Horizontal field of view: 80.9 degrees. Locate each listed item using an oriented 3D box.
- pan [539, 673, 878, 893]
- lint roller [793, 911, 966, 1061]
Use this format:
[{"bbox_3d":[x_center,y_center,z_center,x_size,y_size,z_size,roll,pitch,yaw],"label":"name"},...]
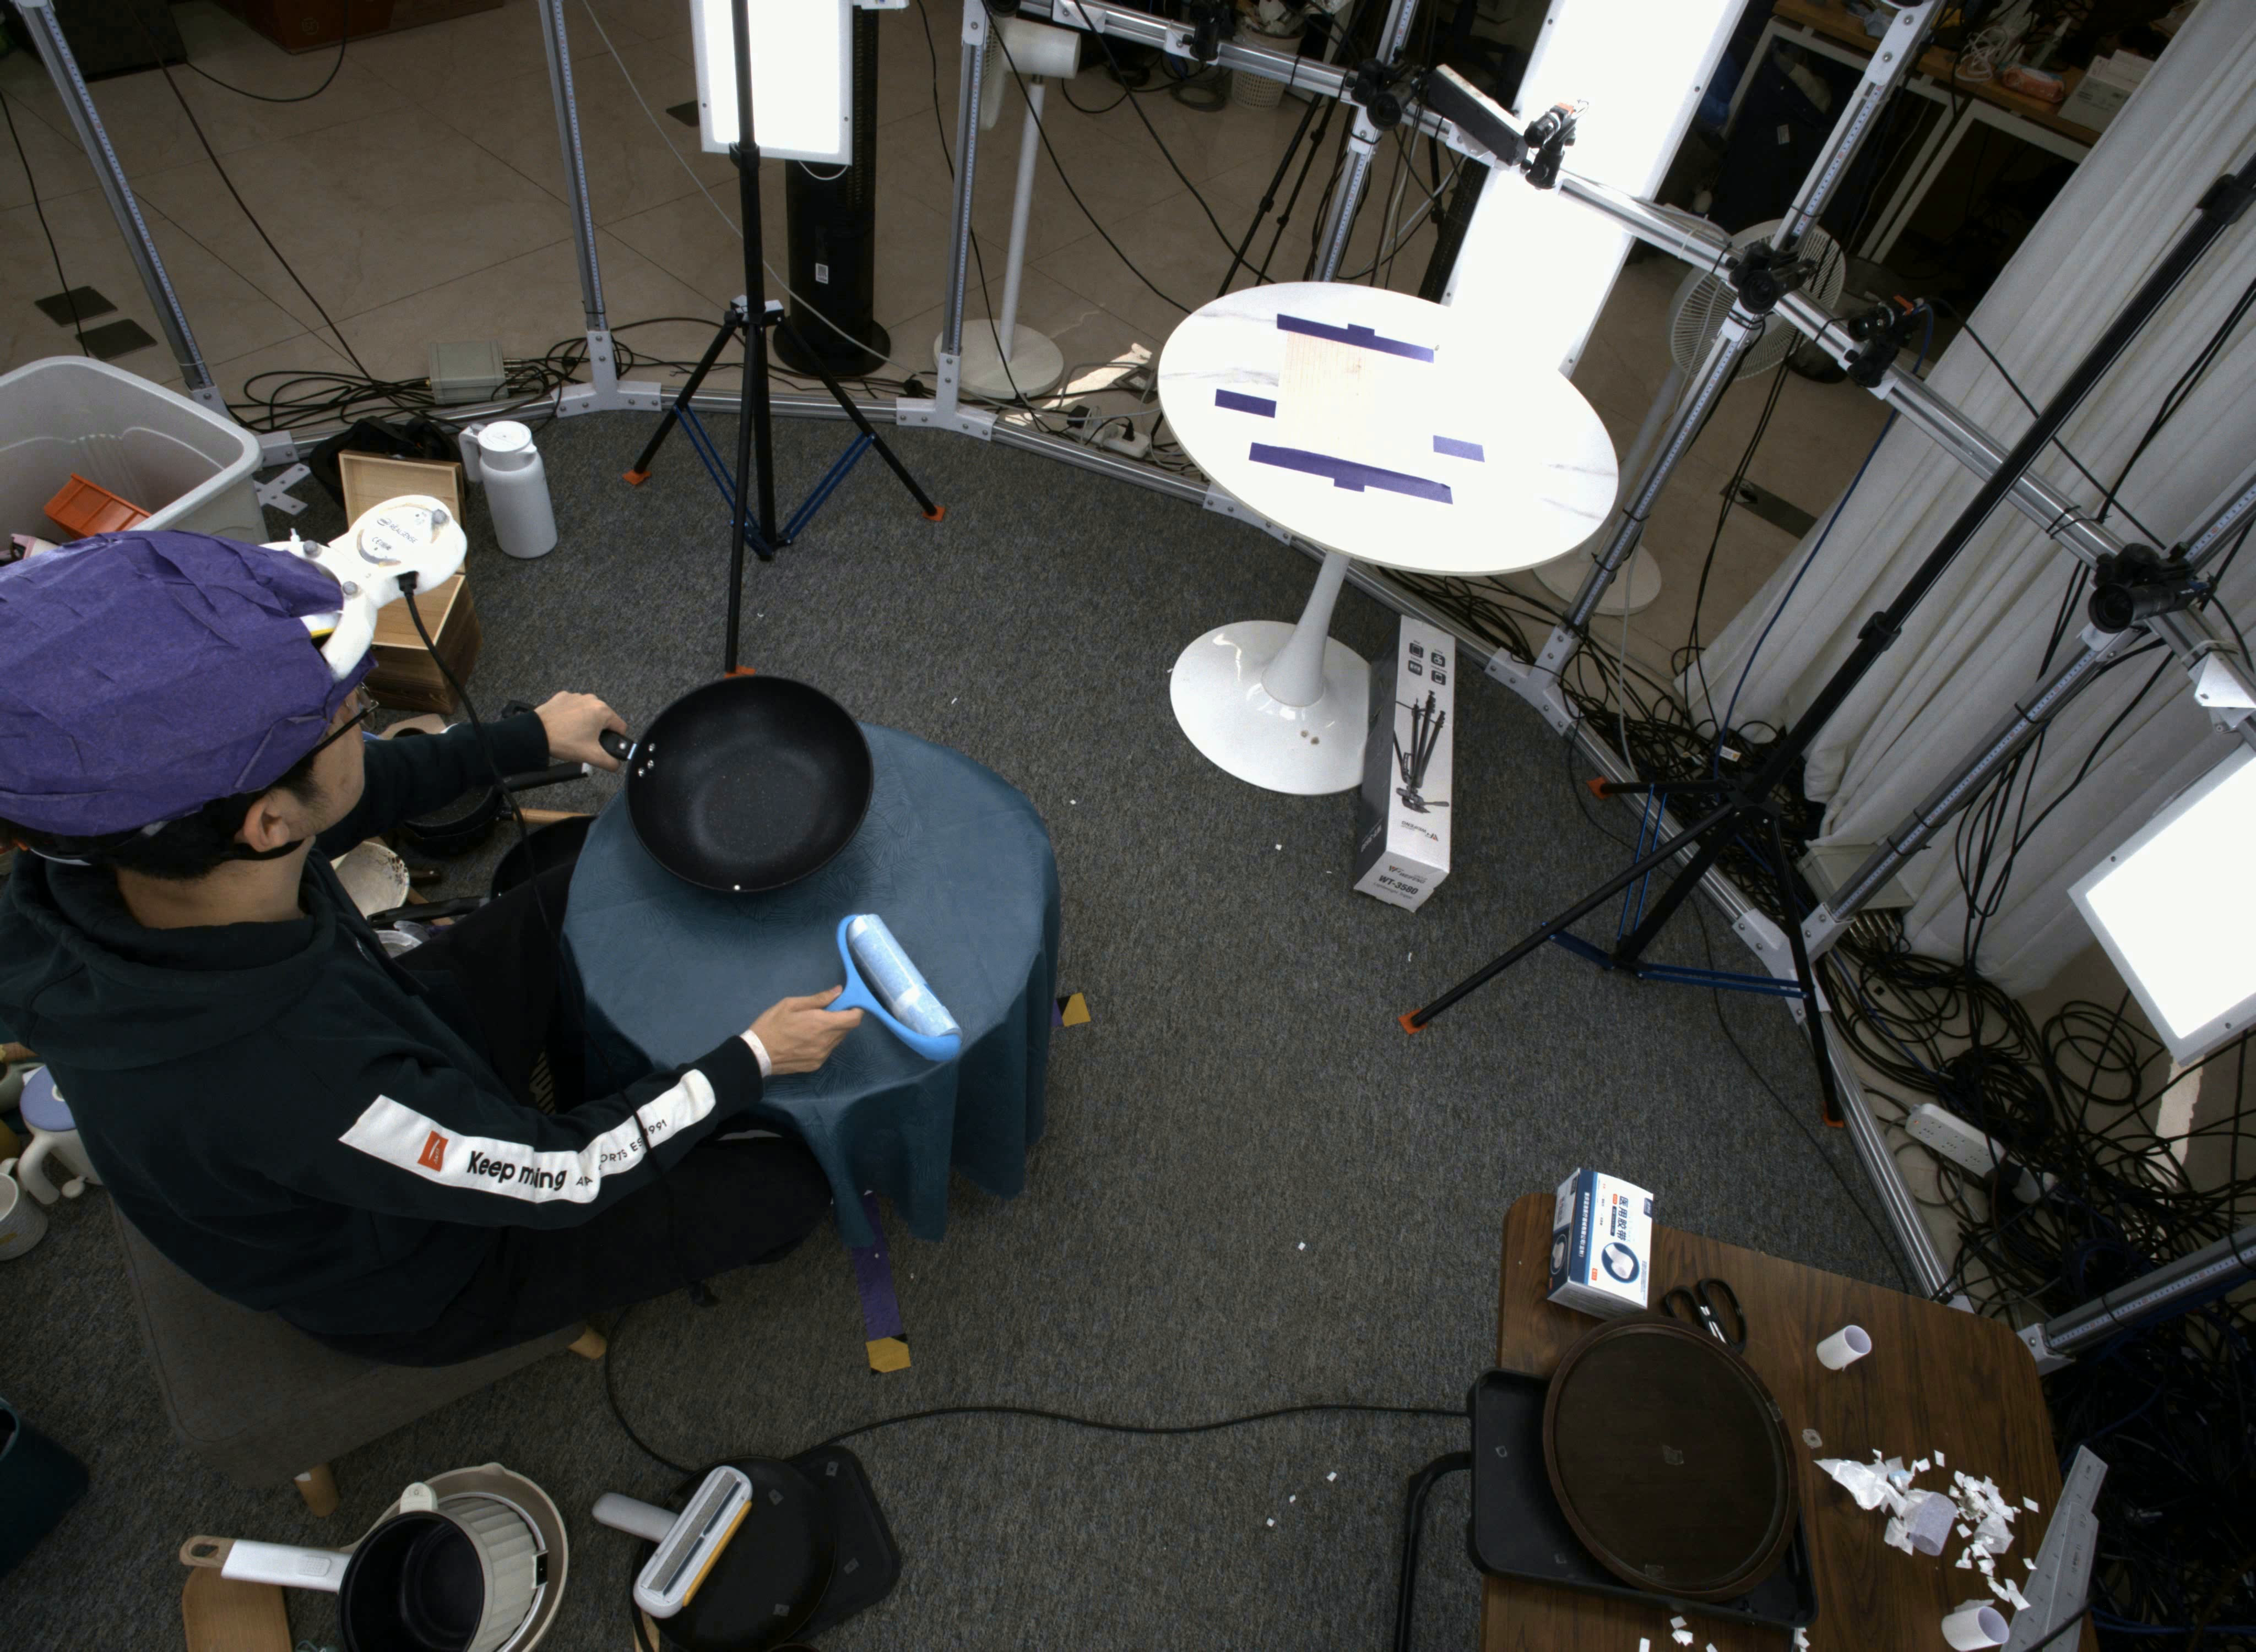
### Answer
[{"bbox_3d":[-0.554,-0.068,1.651,0.473,0.113,0.308,14,64,-2],"label":"pan"},{"bbox_3d":[-0.315,0.211,1.531,0.181,0.069,0.223,-31,65,-30],"label":"lint roller"}]
